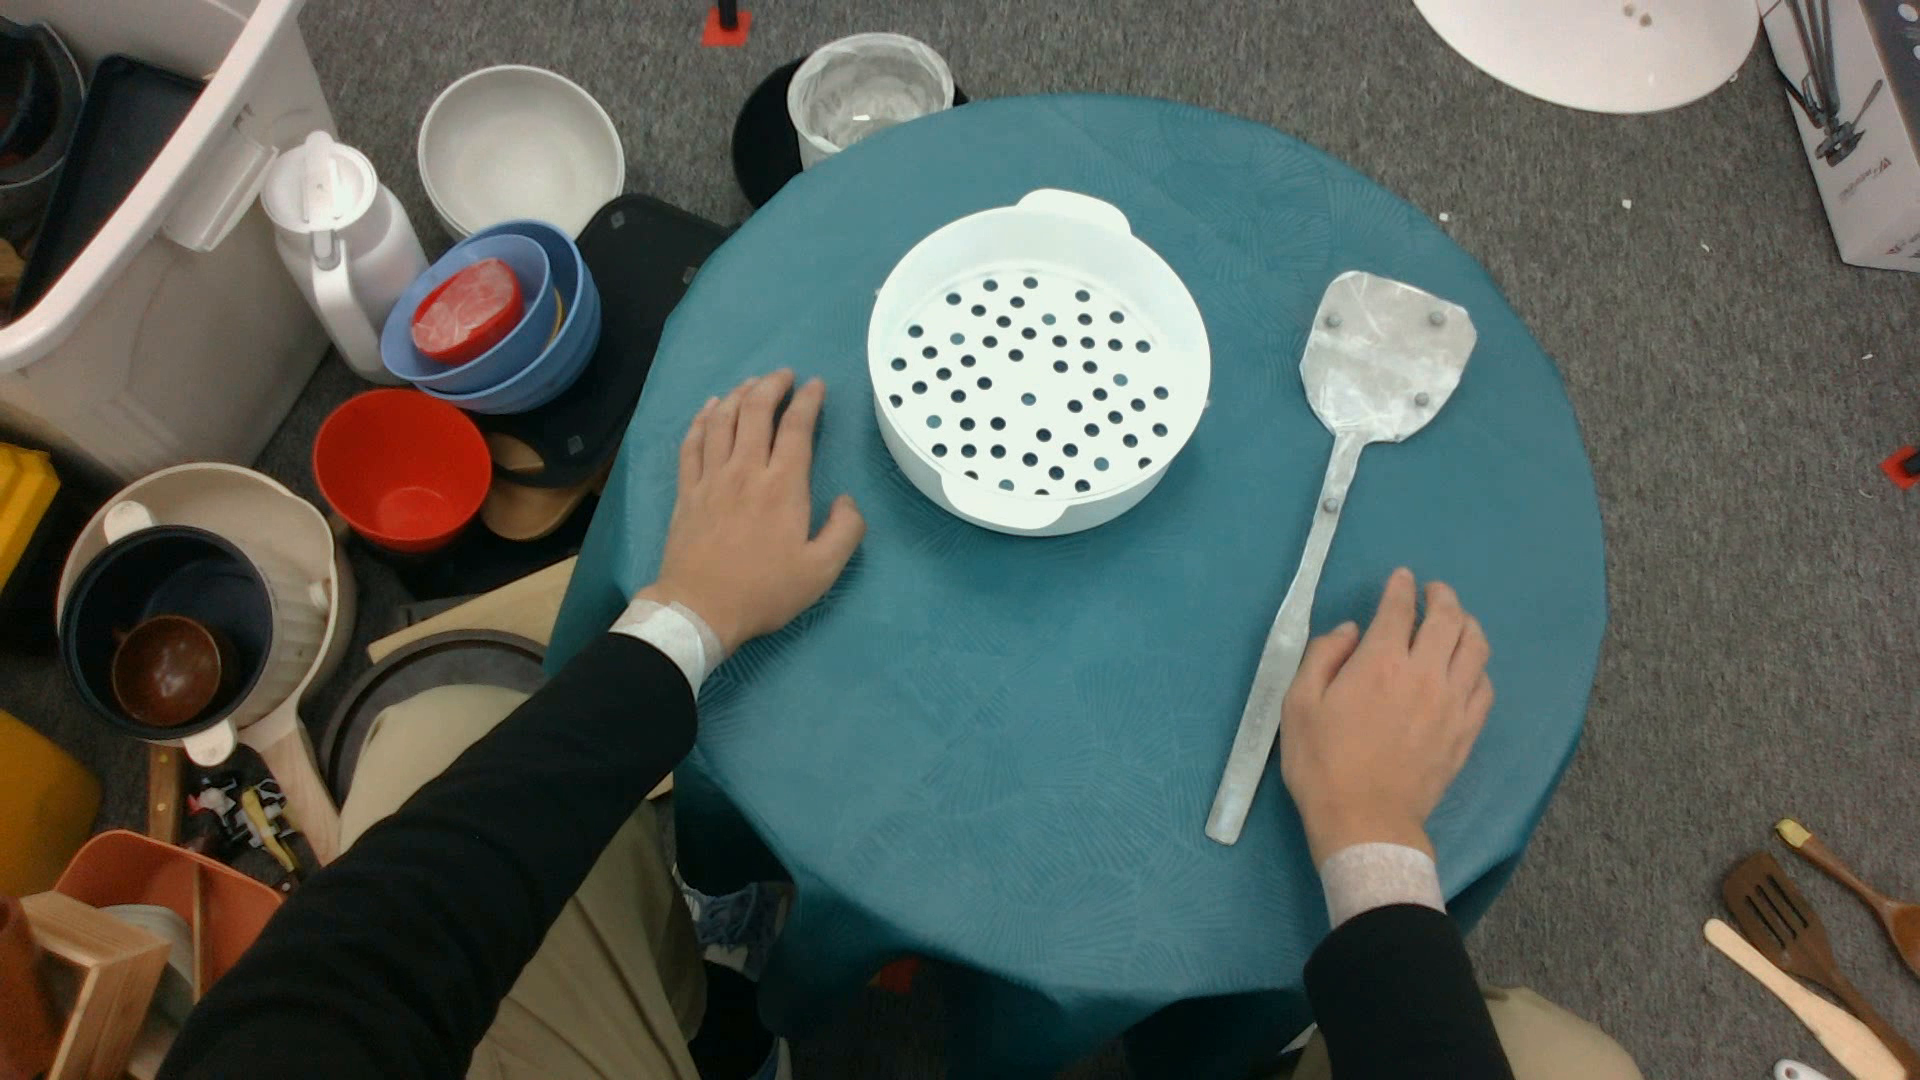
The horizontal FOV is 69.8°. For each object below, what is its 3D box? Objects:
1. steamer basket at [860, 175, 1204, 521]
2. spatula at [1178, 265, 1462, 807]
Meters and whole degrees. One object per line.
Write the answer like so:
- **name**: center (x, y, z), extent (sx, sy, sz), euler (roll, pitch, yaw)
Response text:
- **steamer basket**: center (0.041, -0.109, 0.829), extent (0.202, 0.069, 0.231), euler (15, 67, 2)
- **spatula**: center (0.205, -0.006, 0.817), extent (0.098, 0.044, 0.366), euler (24, 66, 4)
